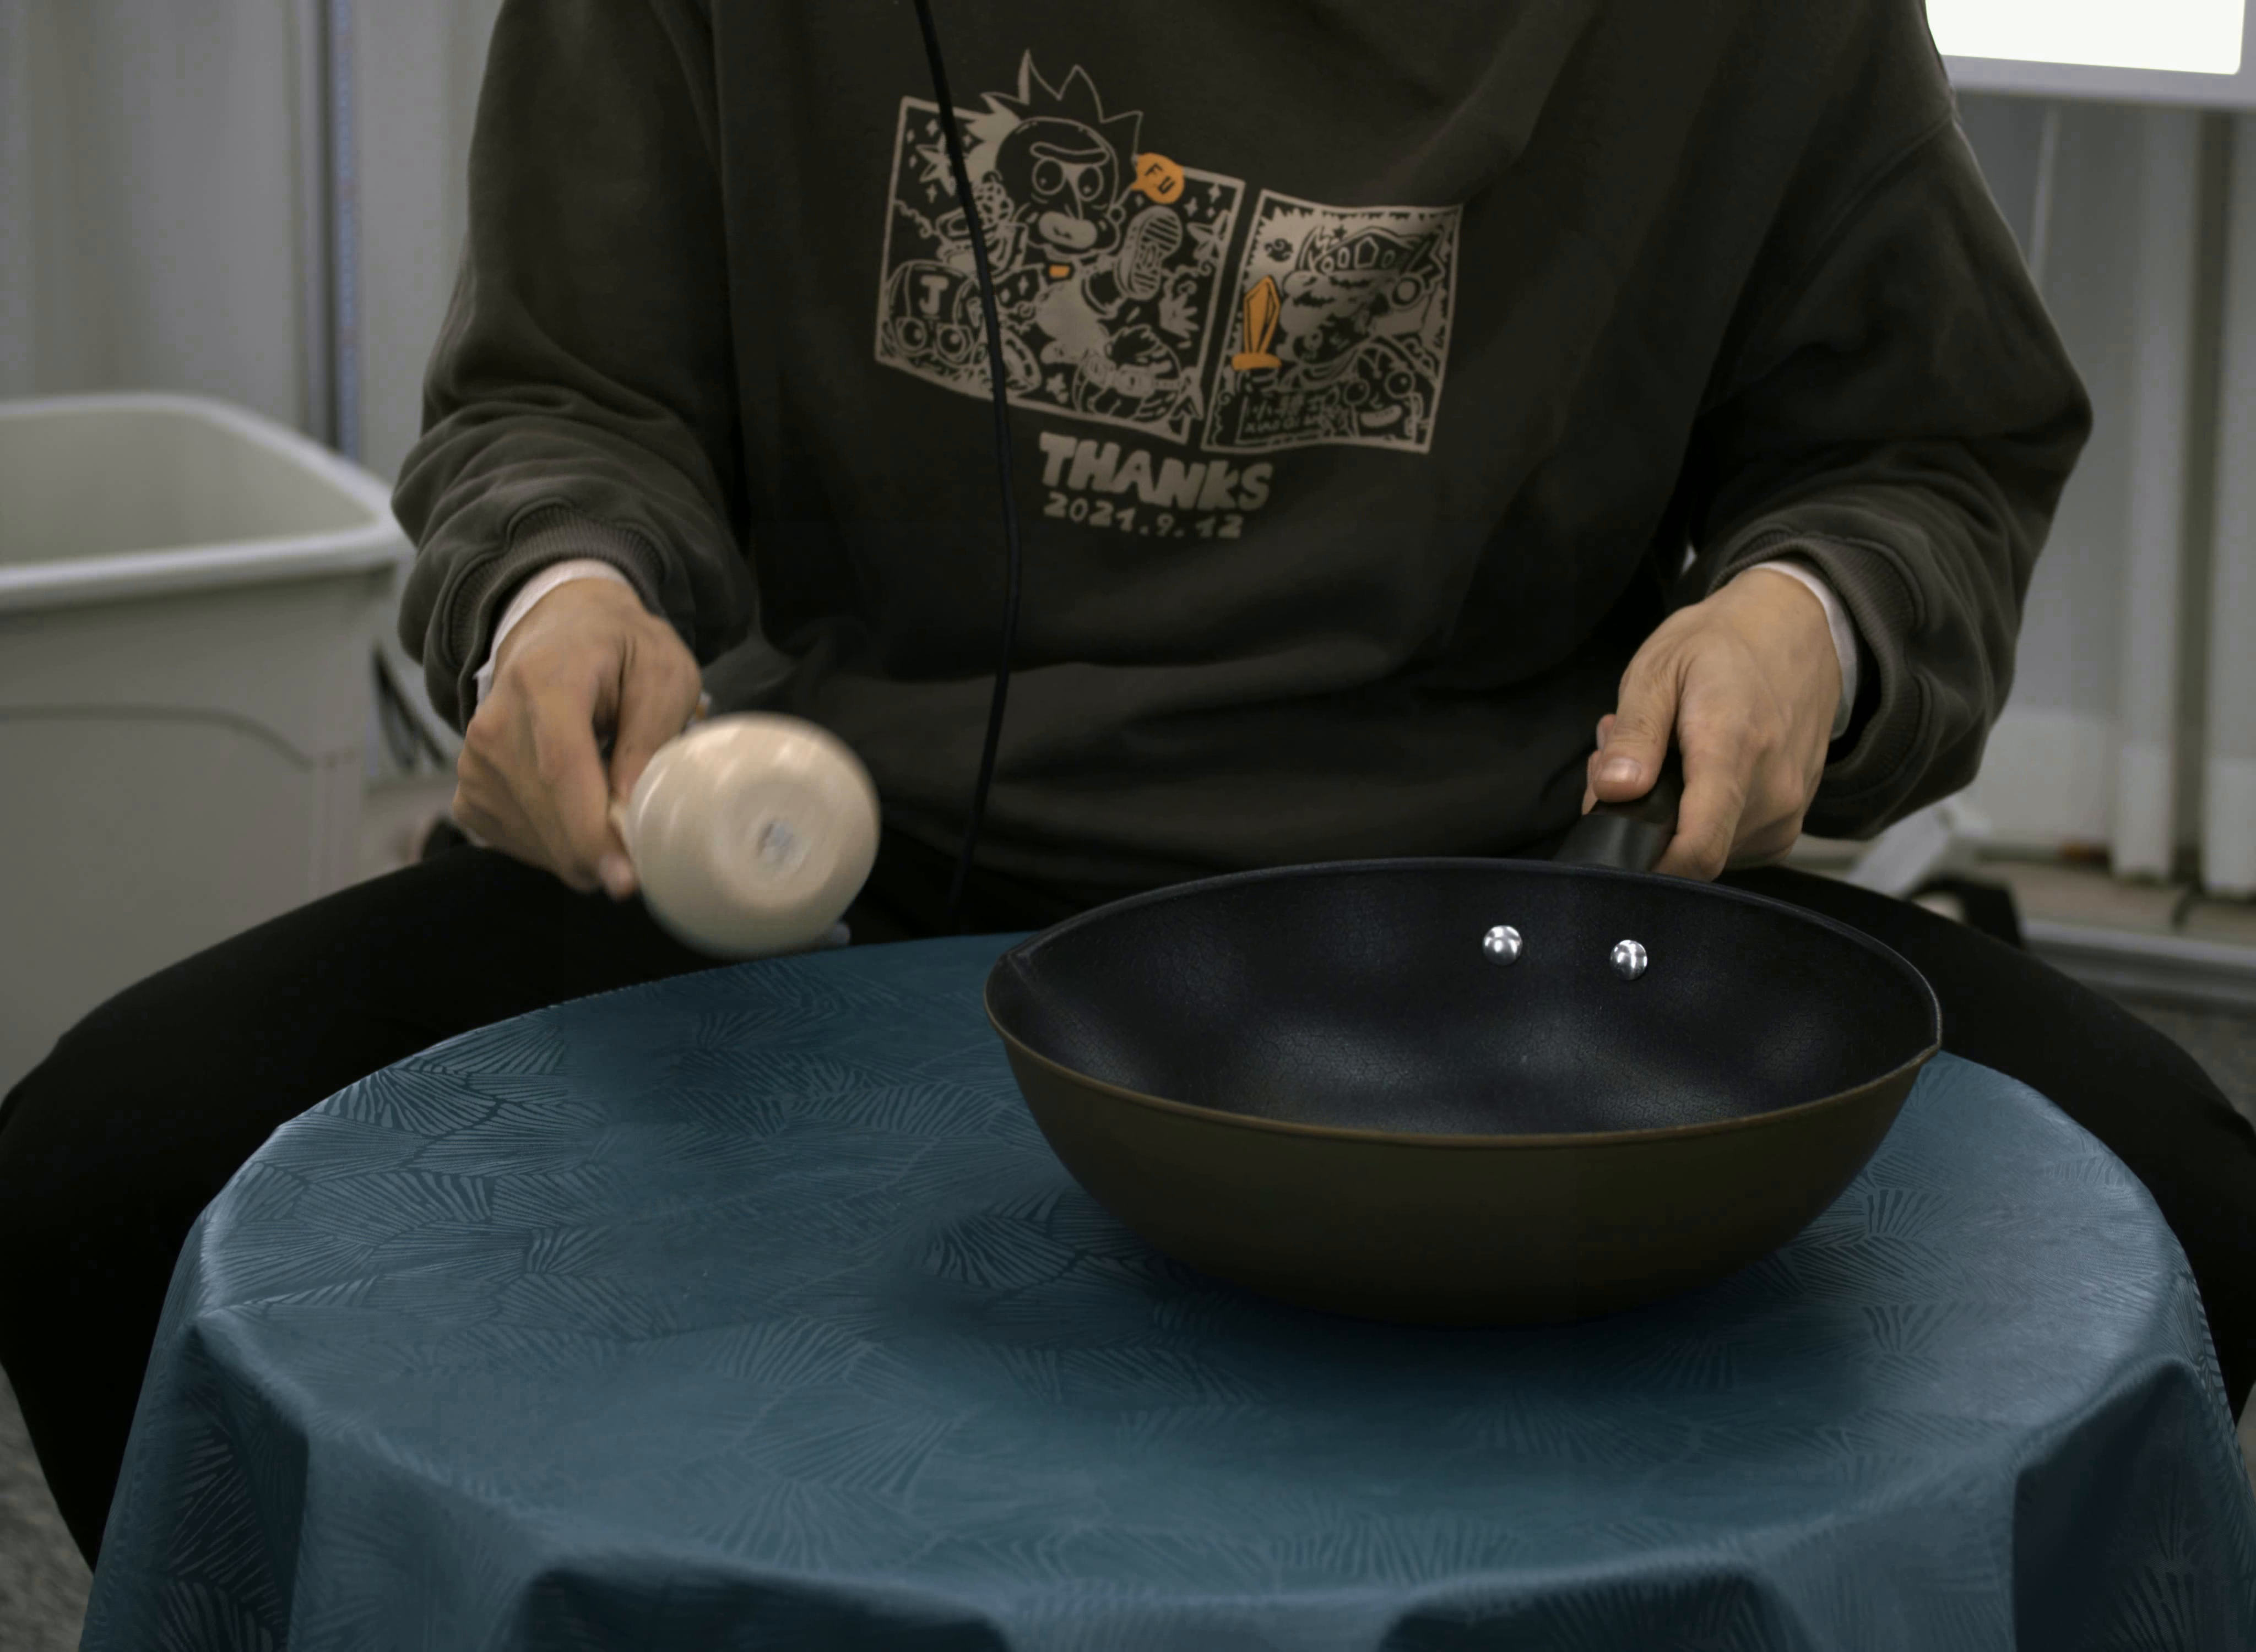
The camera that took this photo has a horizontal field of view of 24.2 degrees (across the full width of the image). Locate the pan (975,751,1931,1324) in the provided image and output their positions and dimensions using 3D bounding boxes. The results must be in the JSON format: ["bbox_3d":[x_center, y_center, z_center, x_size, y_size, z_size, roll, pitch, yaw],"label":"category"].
[{"bbox_3d":[0.125,0.063,1.657,0.285,0.087,0.463,6,15,18],"label":"pan"}]

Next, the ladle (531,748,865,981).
[{"bbox_3d":[-0.138,-0.011,1.630,0.073,0.073,0.252,43,0,-20],"label":"ladle"}]
